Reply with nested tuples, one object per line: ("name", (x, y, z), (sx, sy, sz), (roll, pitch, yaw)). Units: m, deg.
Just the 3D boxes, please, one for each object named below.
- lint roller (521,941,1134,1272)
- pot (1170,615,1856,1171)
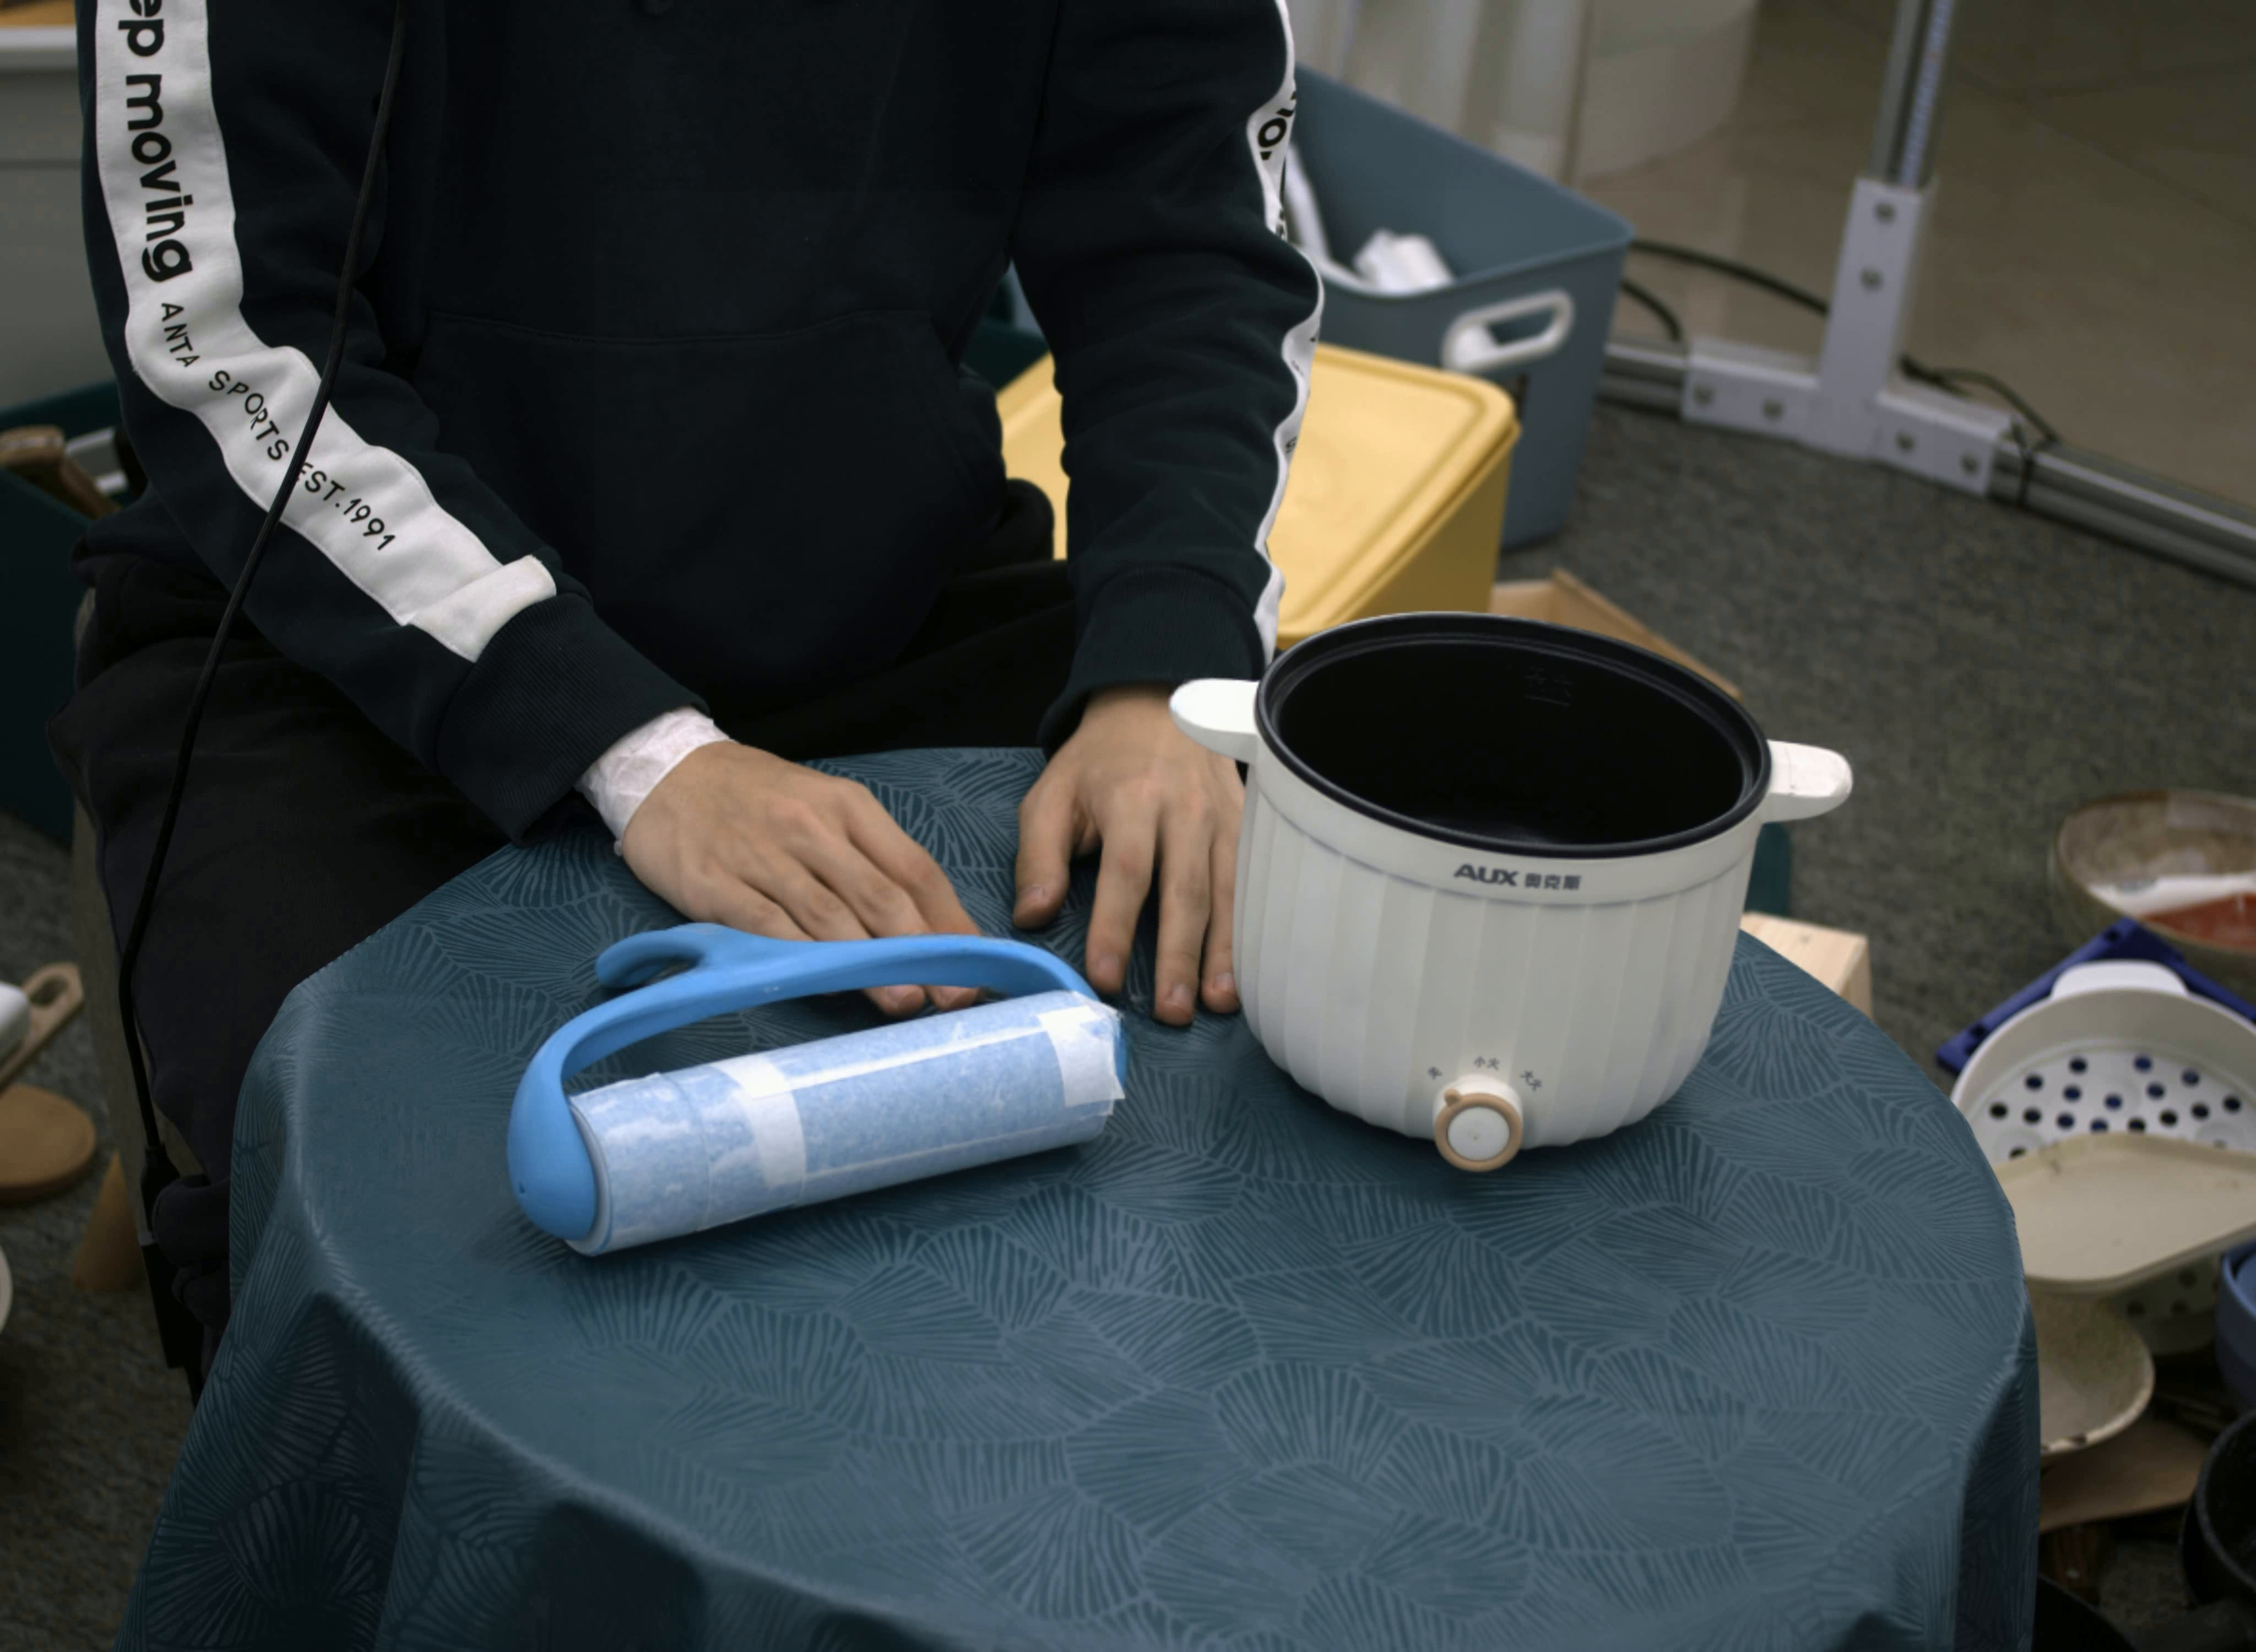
("lint roller", (-0.131, 0.074, 1.808), (0.227, 0.067, 0.182), (-15, 34, -33))
("pot", (0.128, 0.027, 1.865), (0.240, 0.142, 0.191), (5, 23, -1))
